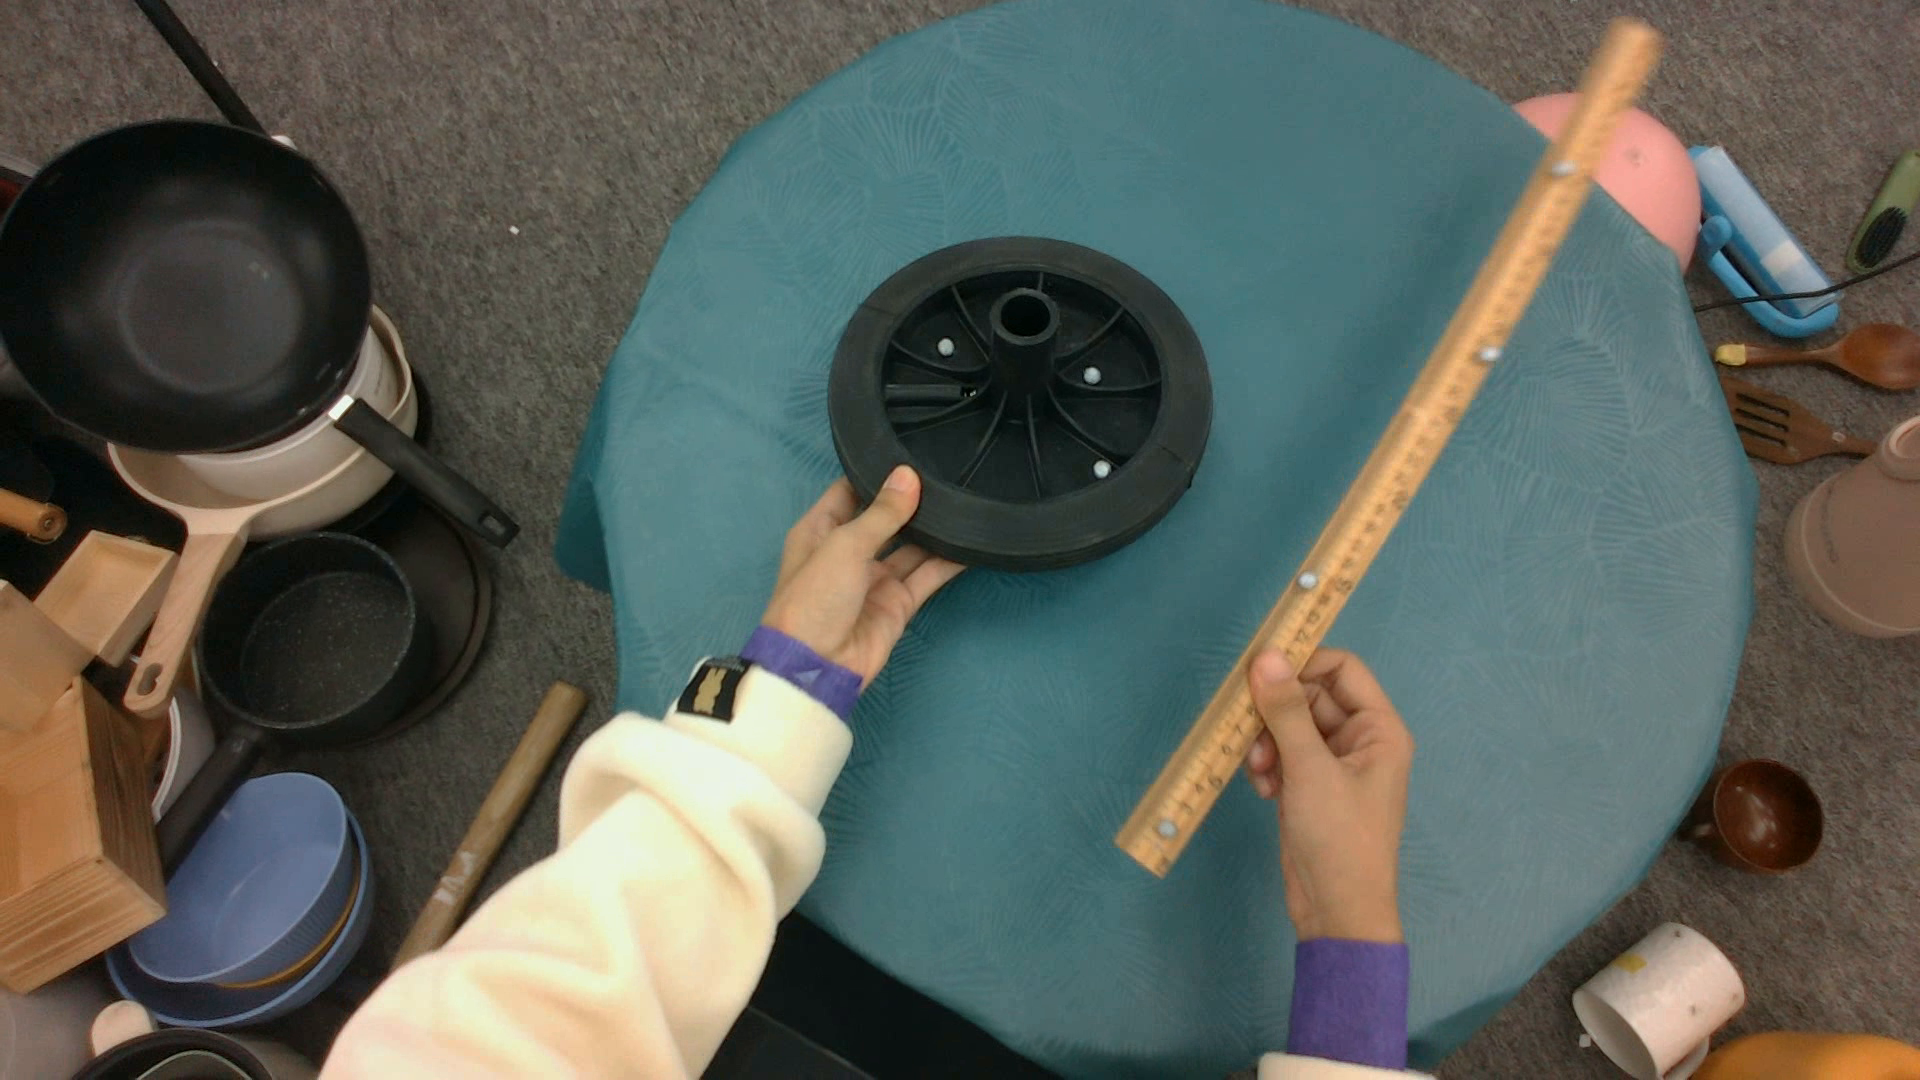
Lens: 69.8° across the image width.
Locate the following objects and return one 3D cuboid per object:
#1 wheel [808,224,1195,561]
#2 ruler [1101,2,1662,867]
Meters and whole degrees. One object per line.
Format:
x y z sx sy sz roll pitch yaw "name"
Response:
0.020 -0.087 0.656 0.190 0.079 0.188 -21 64 -11 "wheel"
0.208 -0.068 0.632 0.027 0.006 0.502 37 75 -5 "ruler"
